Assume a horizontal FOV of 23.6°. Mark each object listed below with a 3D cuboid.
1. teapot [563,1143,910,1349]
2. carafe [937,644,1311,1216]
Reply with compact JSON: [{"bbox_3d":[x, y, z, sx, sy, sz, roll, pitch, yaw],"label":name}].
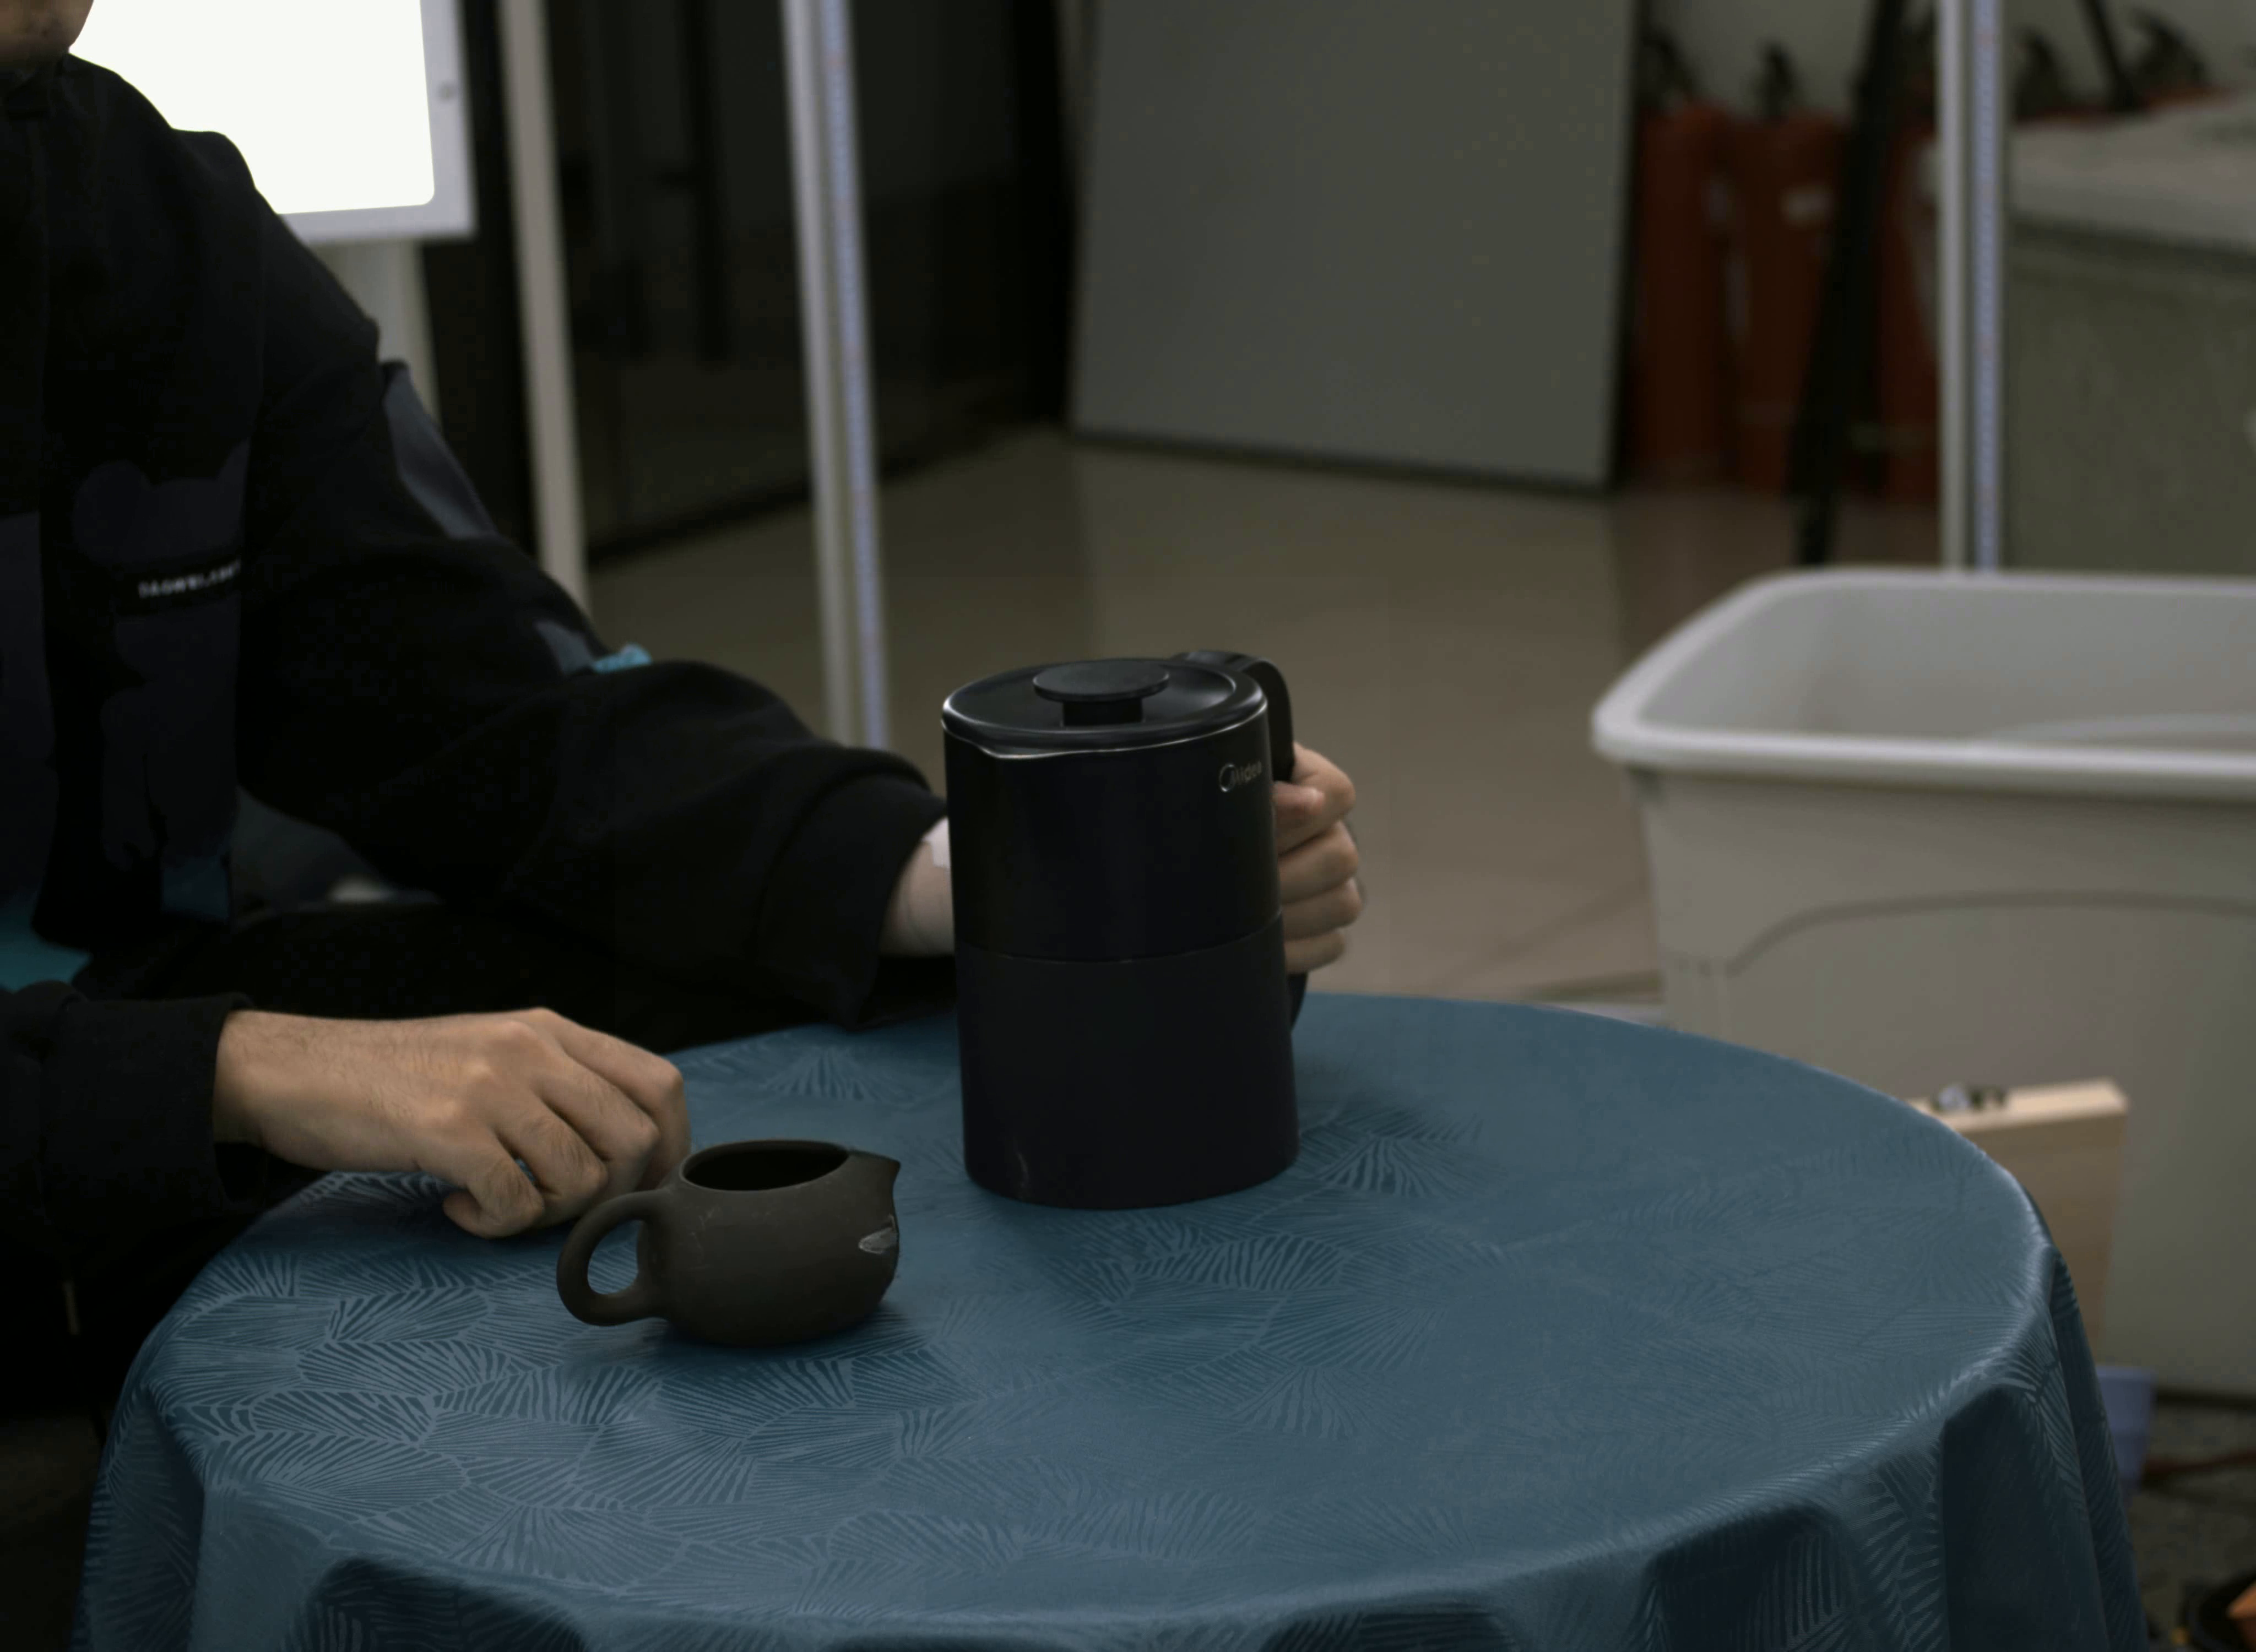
[{"bbox_3d":[-0.119,0.130,1.666,0.112,0.053,0.083,-6,12,-19],"label":"teapot"},{"bbox_3d":[0.007,0.024,1.803,0.115,0.175,0.169,2,17,29],"label":"carafe"}]
